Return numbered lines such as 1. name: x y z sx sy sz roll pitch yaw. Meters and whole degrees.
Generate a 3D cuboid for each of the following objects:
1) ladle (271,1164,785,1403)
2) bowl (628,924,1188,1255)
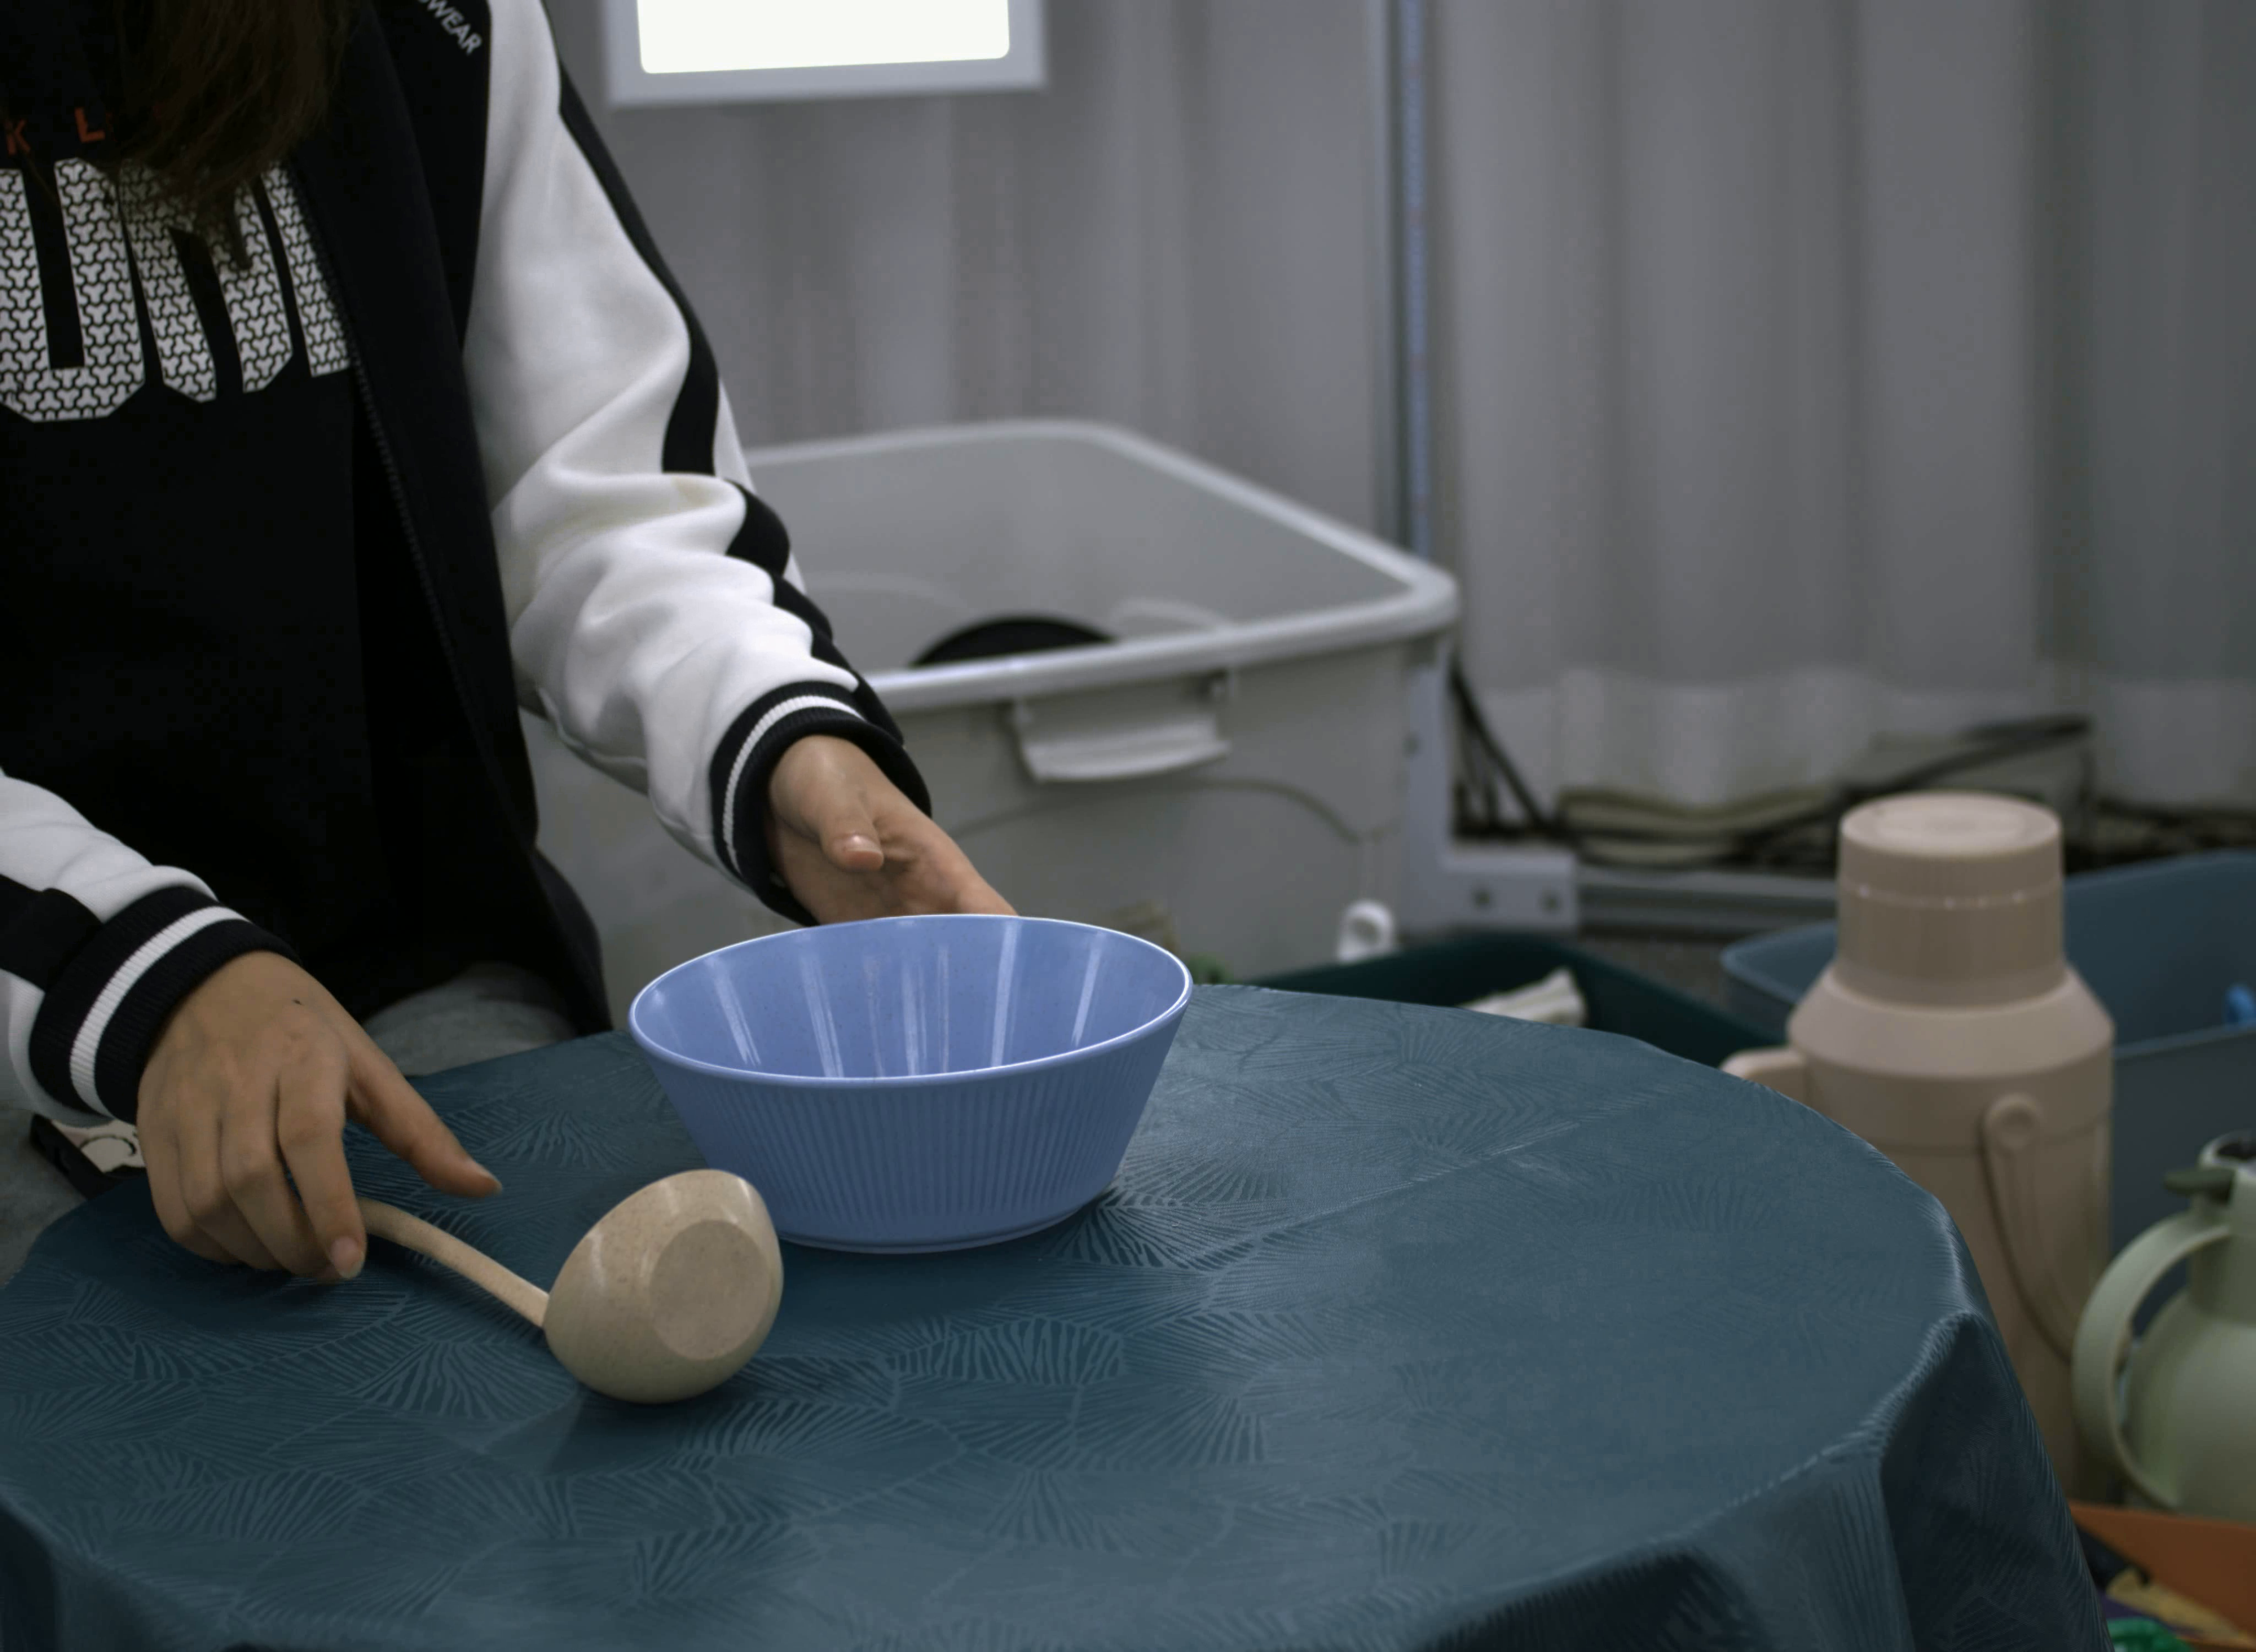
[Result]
1. ladle: -0.191 0.111 1.625 0.072 0.072 0.256 -11 17 -35
2. bowl: -0.068 0.084 1.709 0.175 0.070 0.177 -2 14 0
